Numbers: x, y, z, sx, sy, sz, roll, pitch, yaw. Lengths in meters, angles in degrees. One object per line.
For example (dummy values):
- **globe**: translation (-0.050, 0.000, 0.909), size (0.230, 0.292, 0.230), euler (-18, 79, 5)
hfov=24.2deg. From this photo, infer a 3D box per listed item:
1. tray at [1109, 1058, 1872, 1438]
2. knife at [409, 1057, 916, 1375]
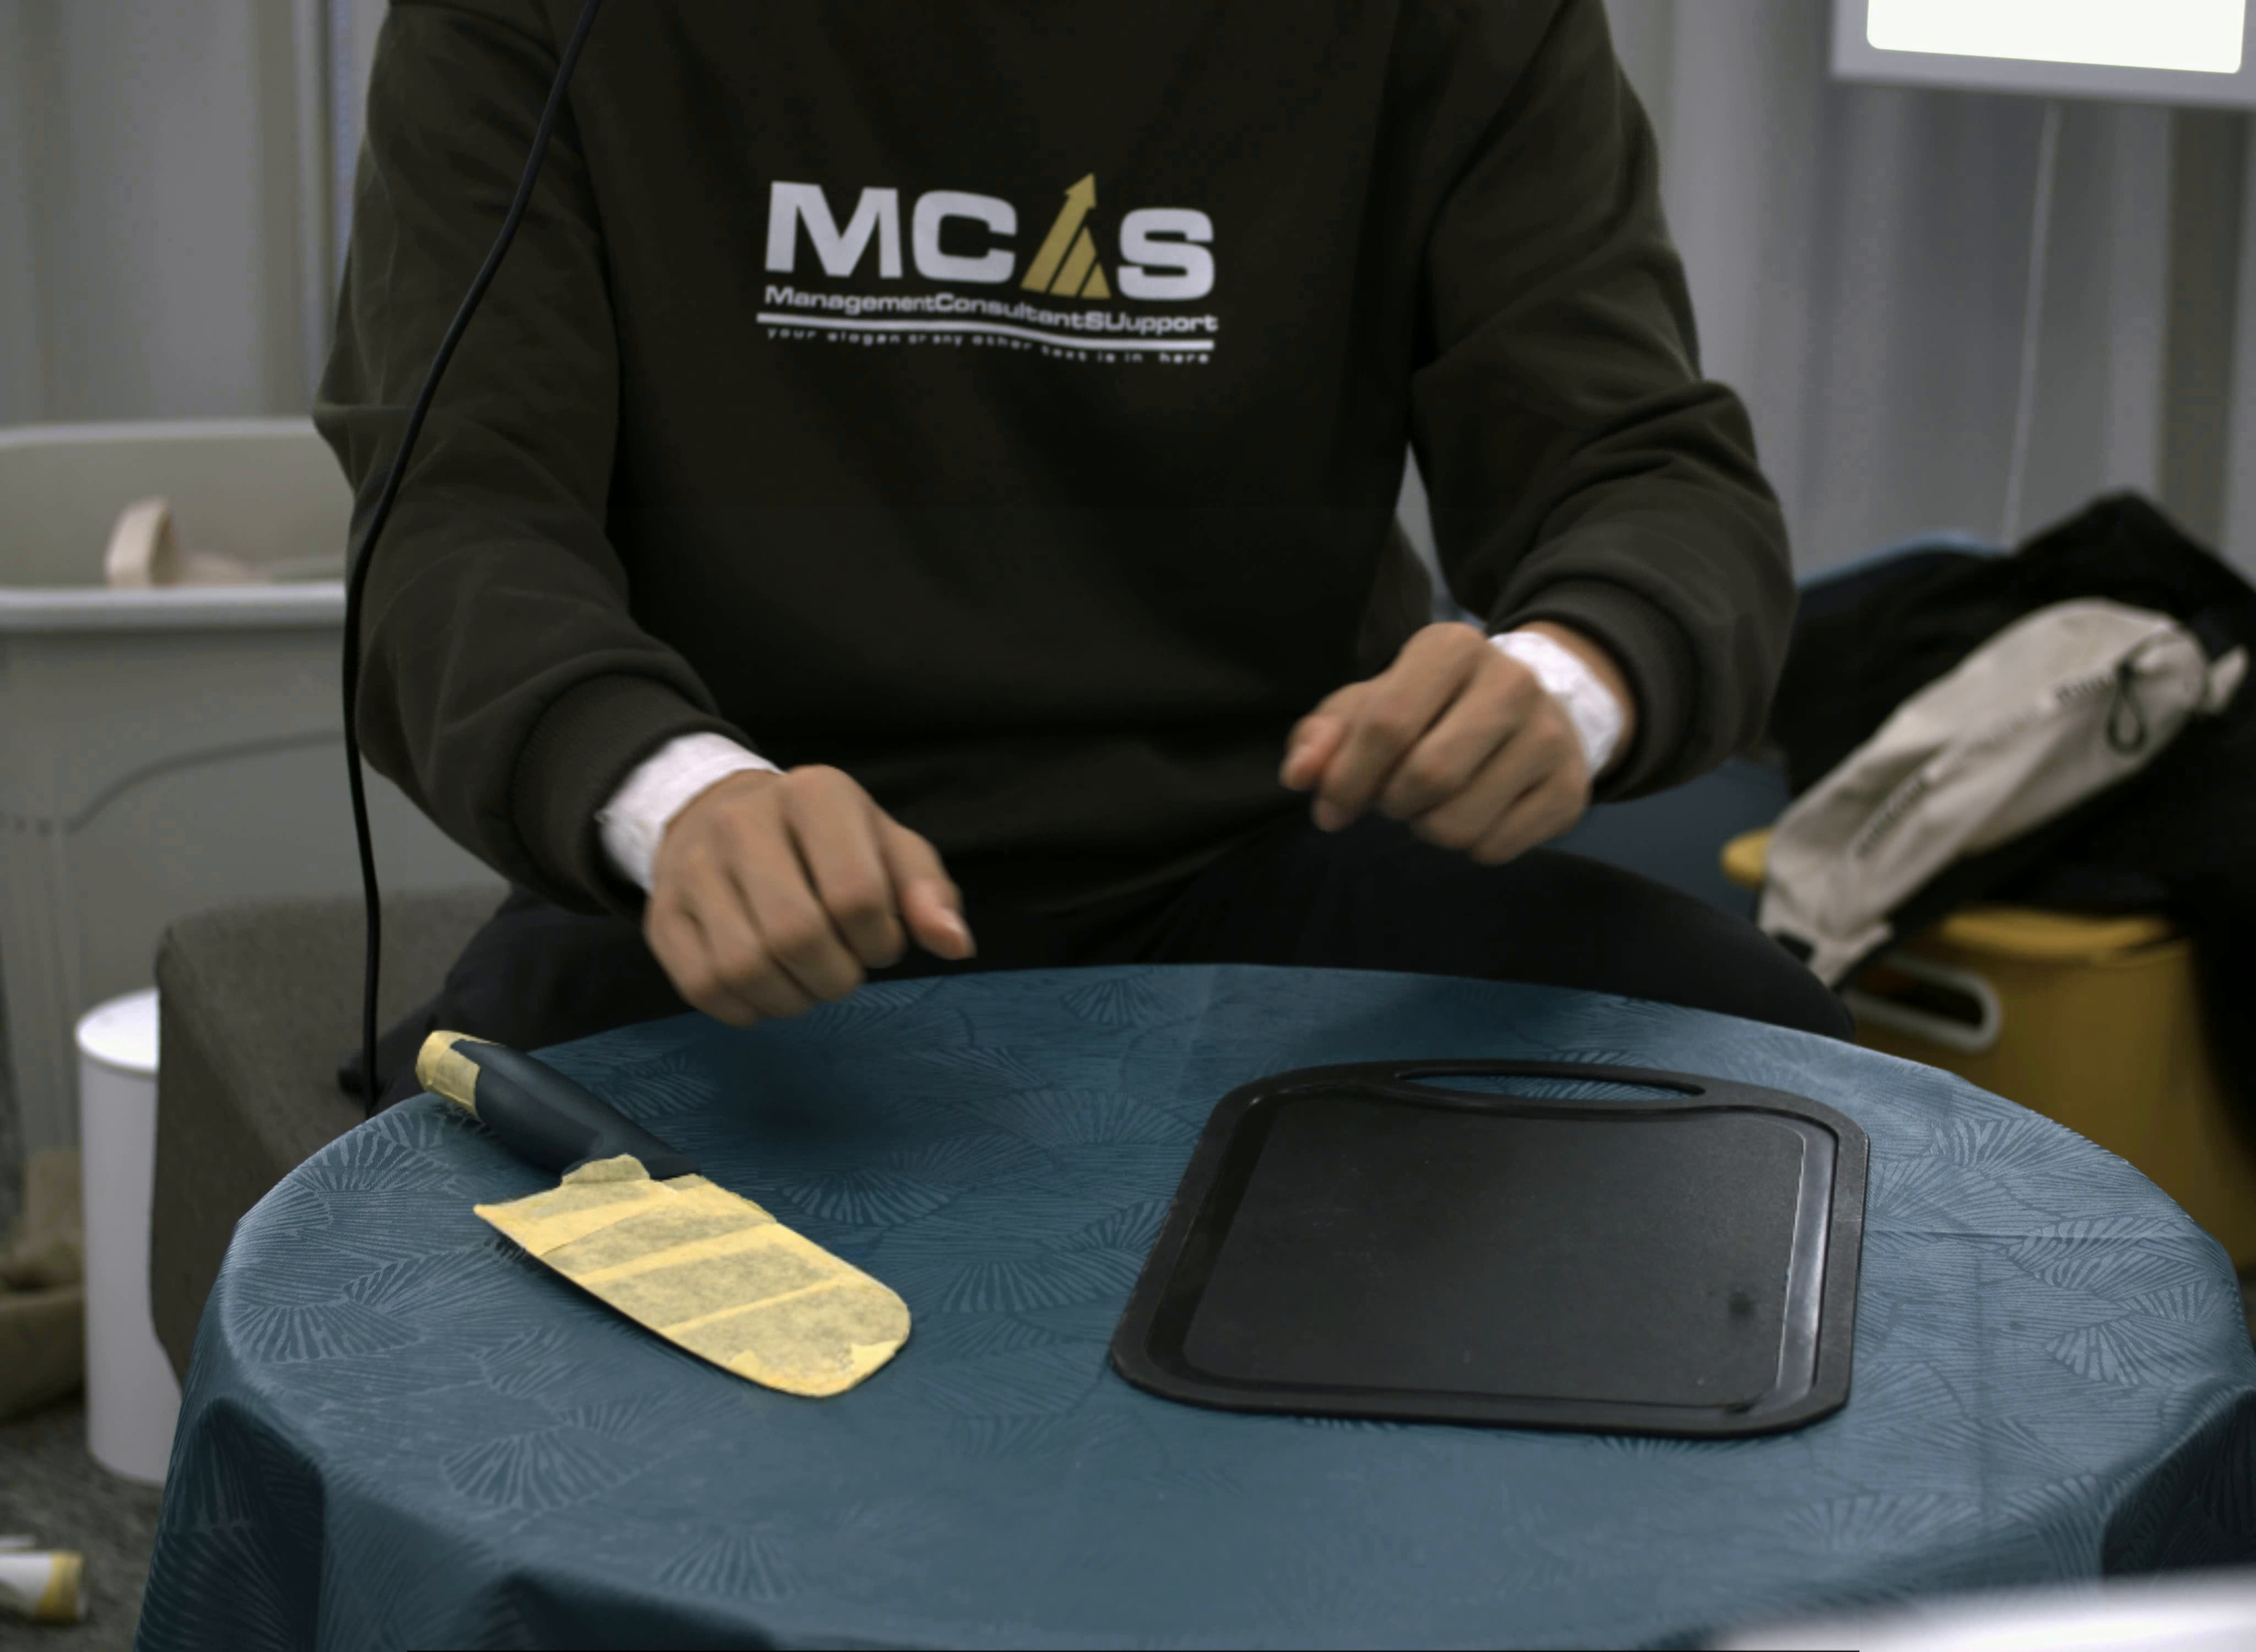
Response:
- **tray**: translation (0.116, 0.119, 1.591), size (0.210, 0.010, 0.324), euler (3, 15, 9)
- **knife**: translation (-0.152, 0.117, 1.575), size (0.081, 0.027, 0.285), euler (-8, 18, -33)
